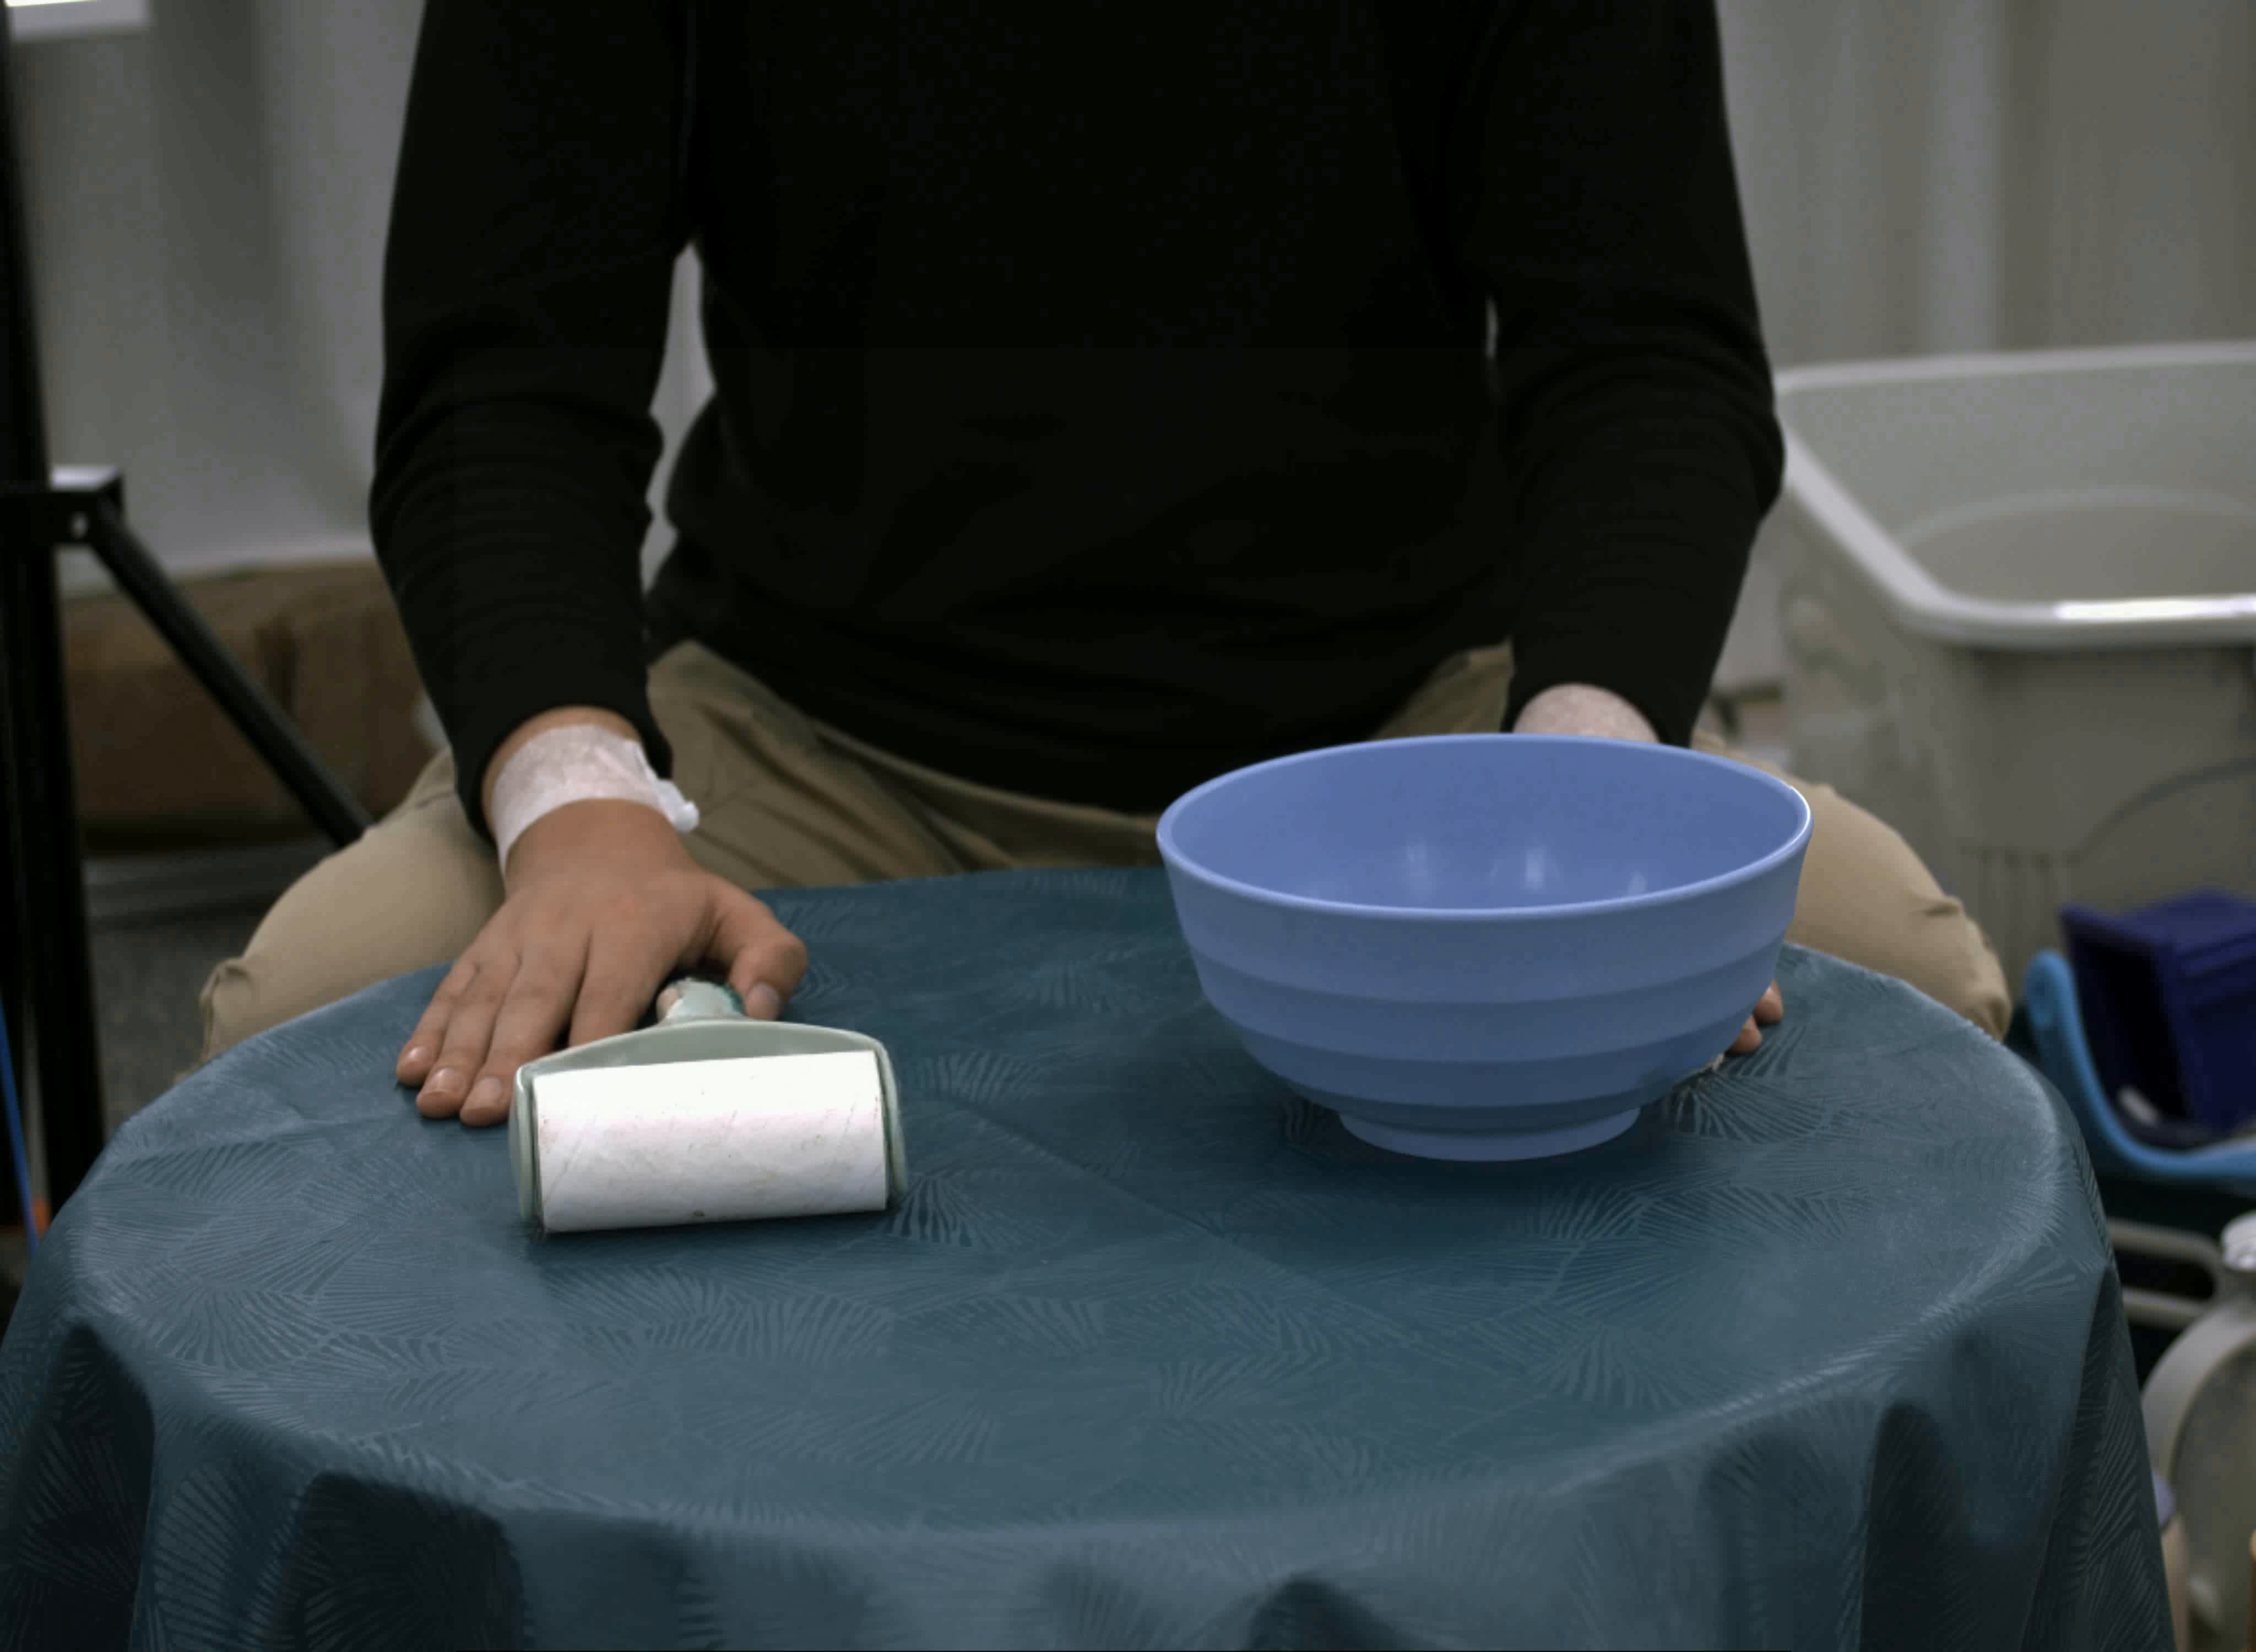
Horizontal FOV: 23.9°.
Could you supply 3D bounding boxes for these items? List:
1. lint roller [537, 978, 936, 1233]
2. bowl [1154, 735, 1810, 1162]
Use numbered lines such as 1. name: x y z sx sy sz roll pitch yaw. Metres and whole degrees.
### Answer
1. lint roller: -0.121 0.073 1.619 0.116 0.048 0.199 -5 15 -4
2. bowl: 0.108 0.042 1.598 0.195 0.095 0.197 -4 15 0
